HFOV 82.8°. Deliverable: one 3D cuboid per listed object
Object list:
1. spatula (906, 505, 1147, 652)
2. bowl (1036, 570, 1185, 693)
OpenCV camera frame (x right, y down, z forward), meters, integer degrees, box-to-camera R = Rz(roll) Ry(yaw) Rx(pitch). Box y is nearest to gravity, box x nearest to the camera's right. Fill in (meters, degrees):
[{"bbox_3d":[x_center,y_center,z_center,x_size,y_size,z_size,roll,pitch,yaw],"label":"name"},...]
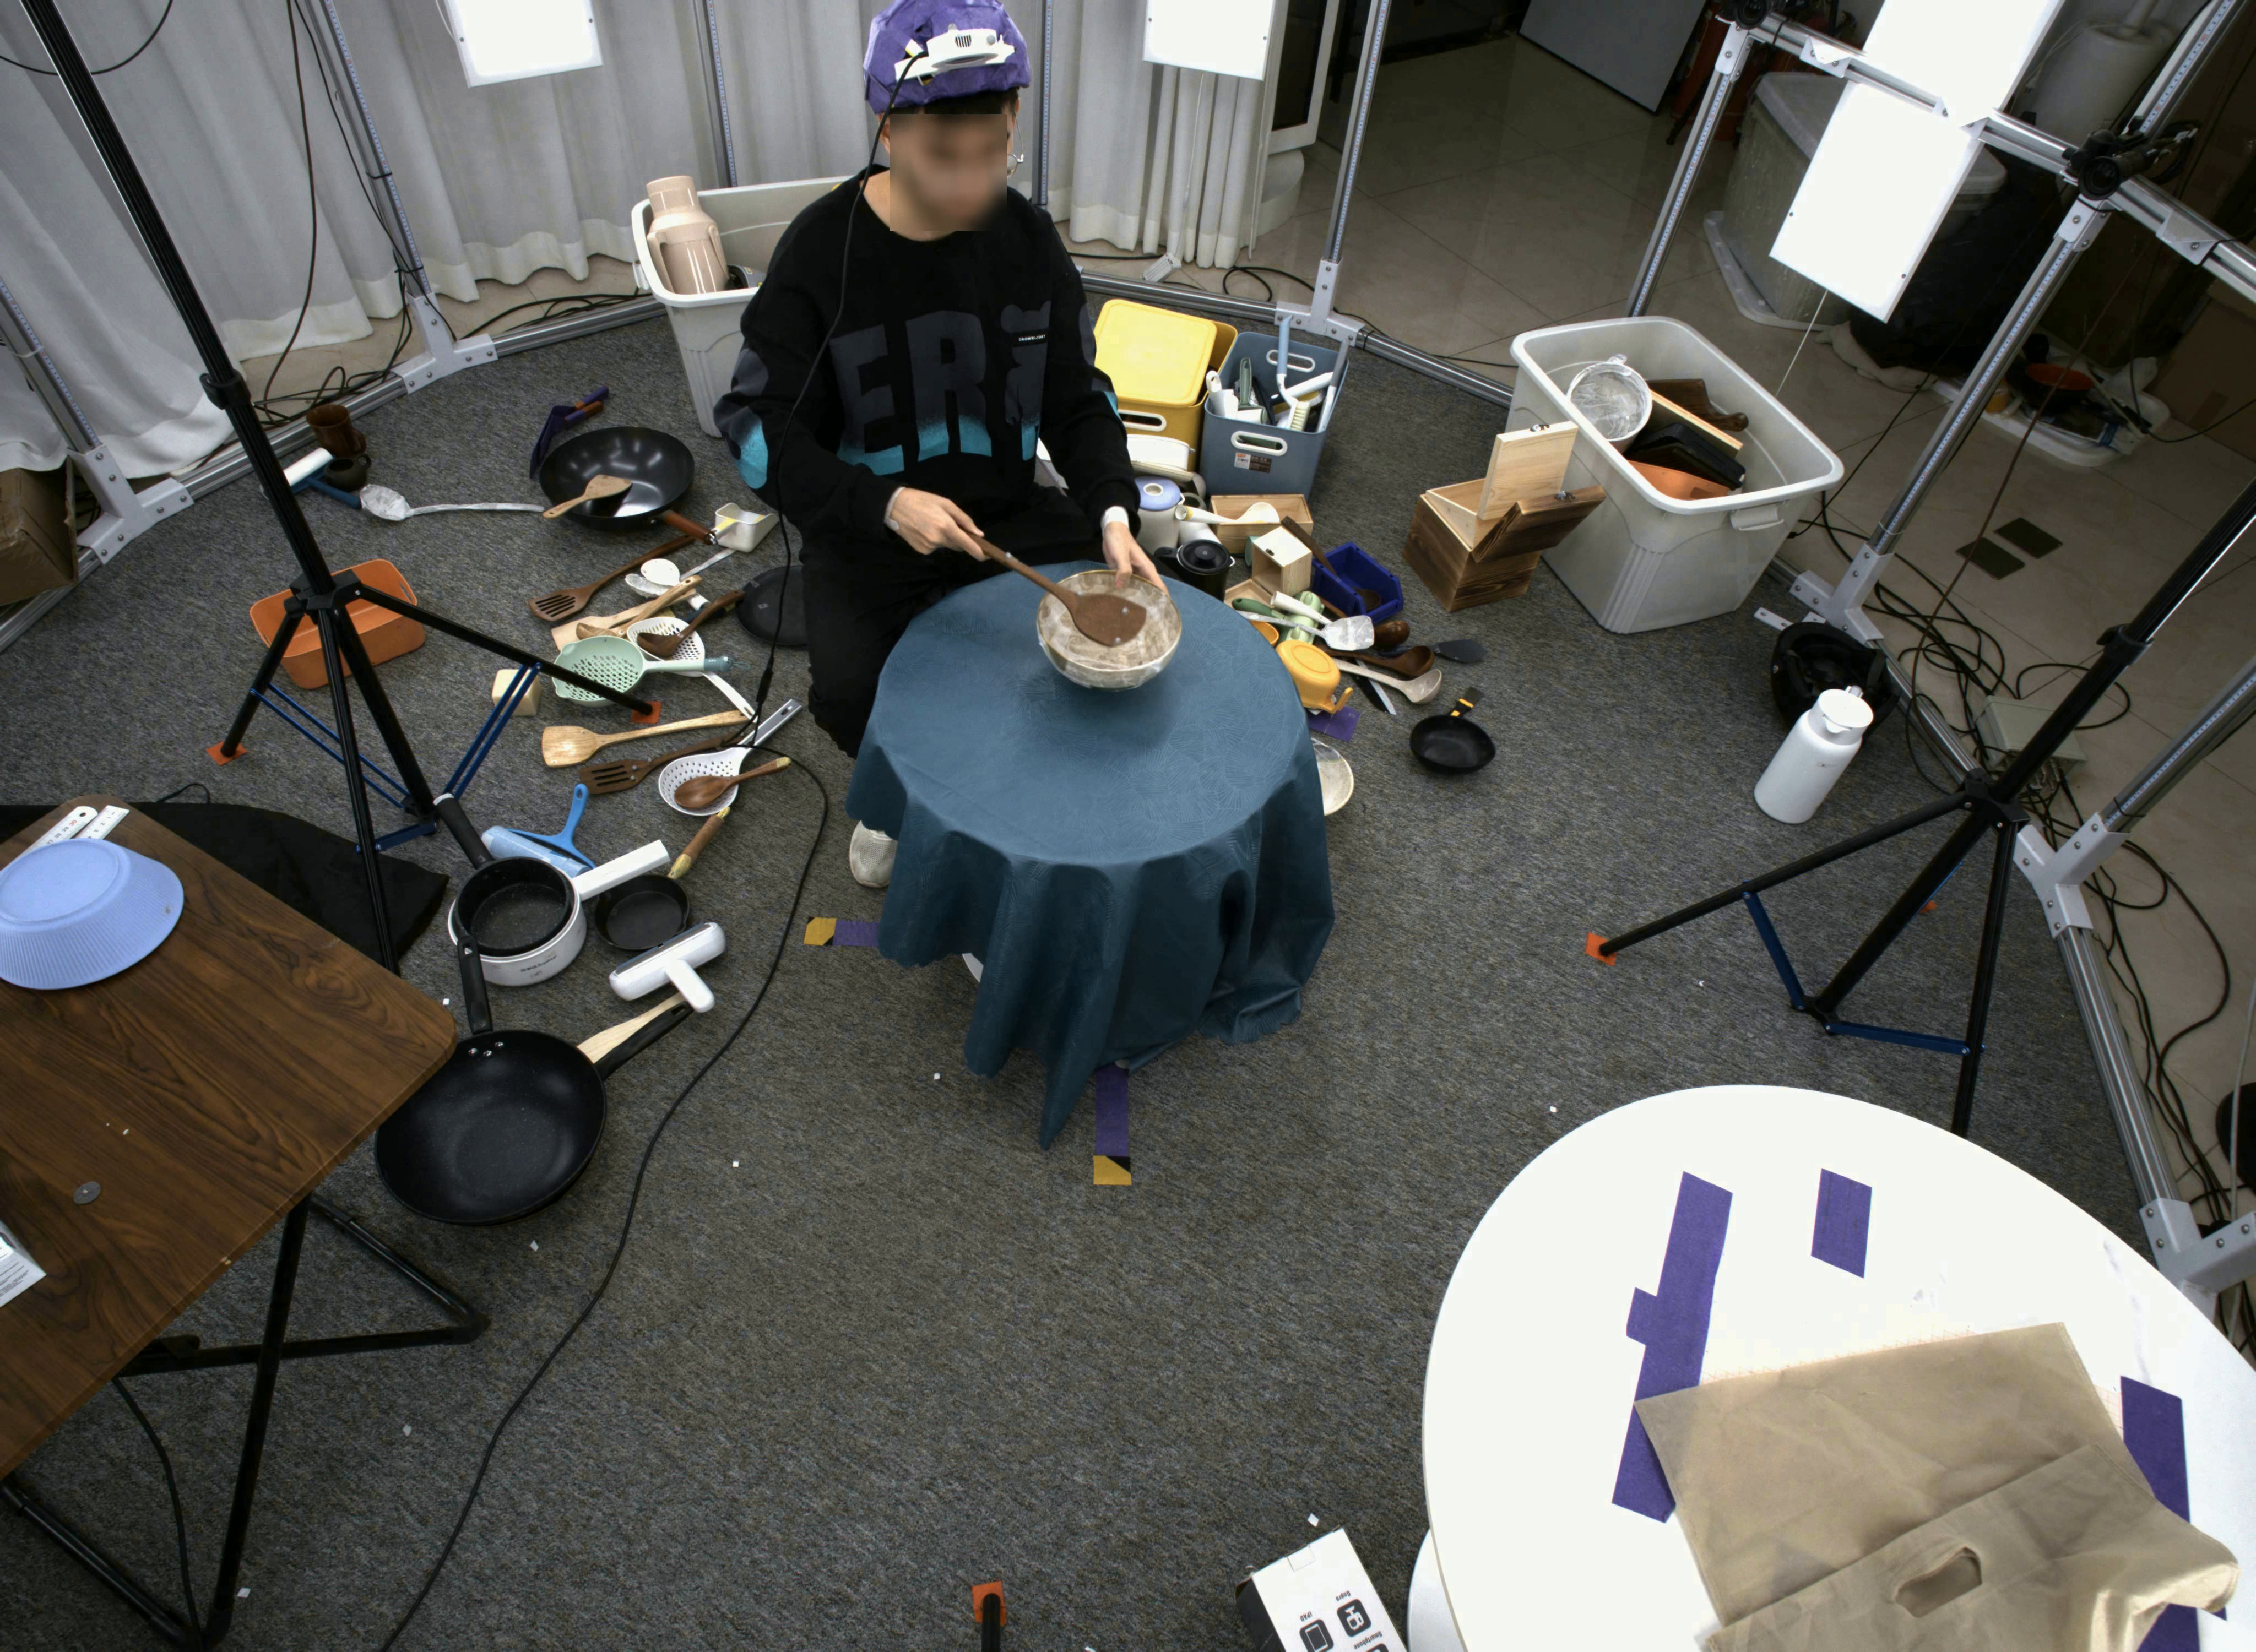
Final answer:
[{"bbox_3d":[-0.149,-0.355,1.802,0.388,0.015,0.097,31,54,9],"label":"spatula"},{"bbox_3d":[-0.027,-0.261,1.822,0.214,0.092,0.220,1,49,-2],"label":"bowl"}]
